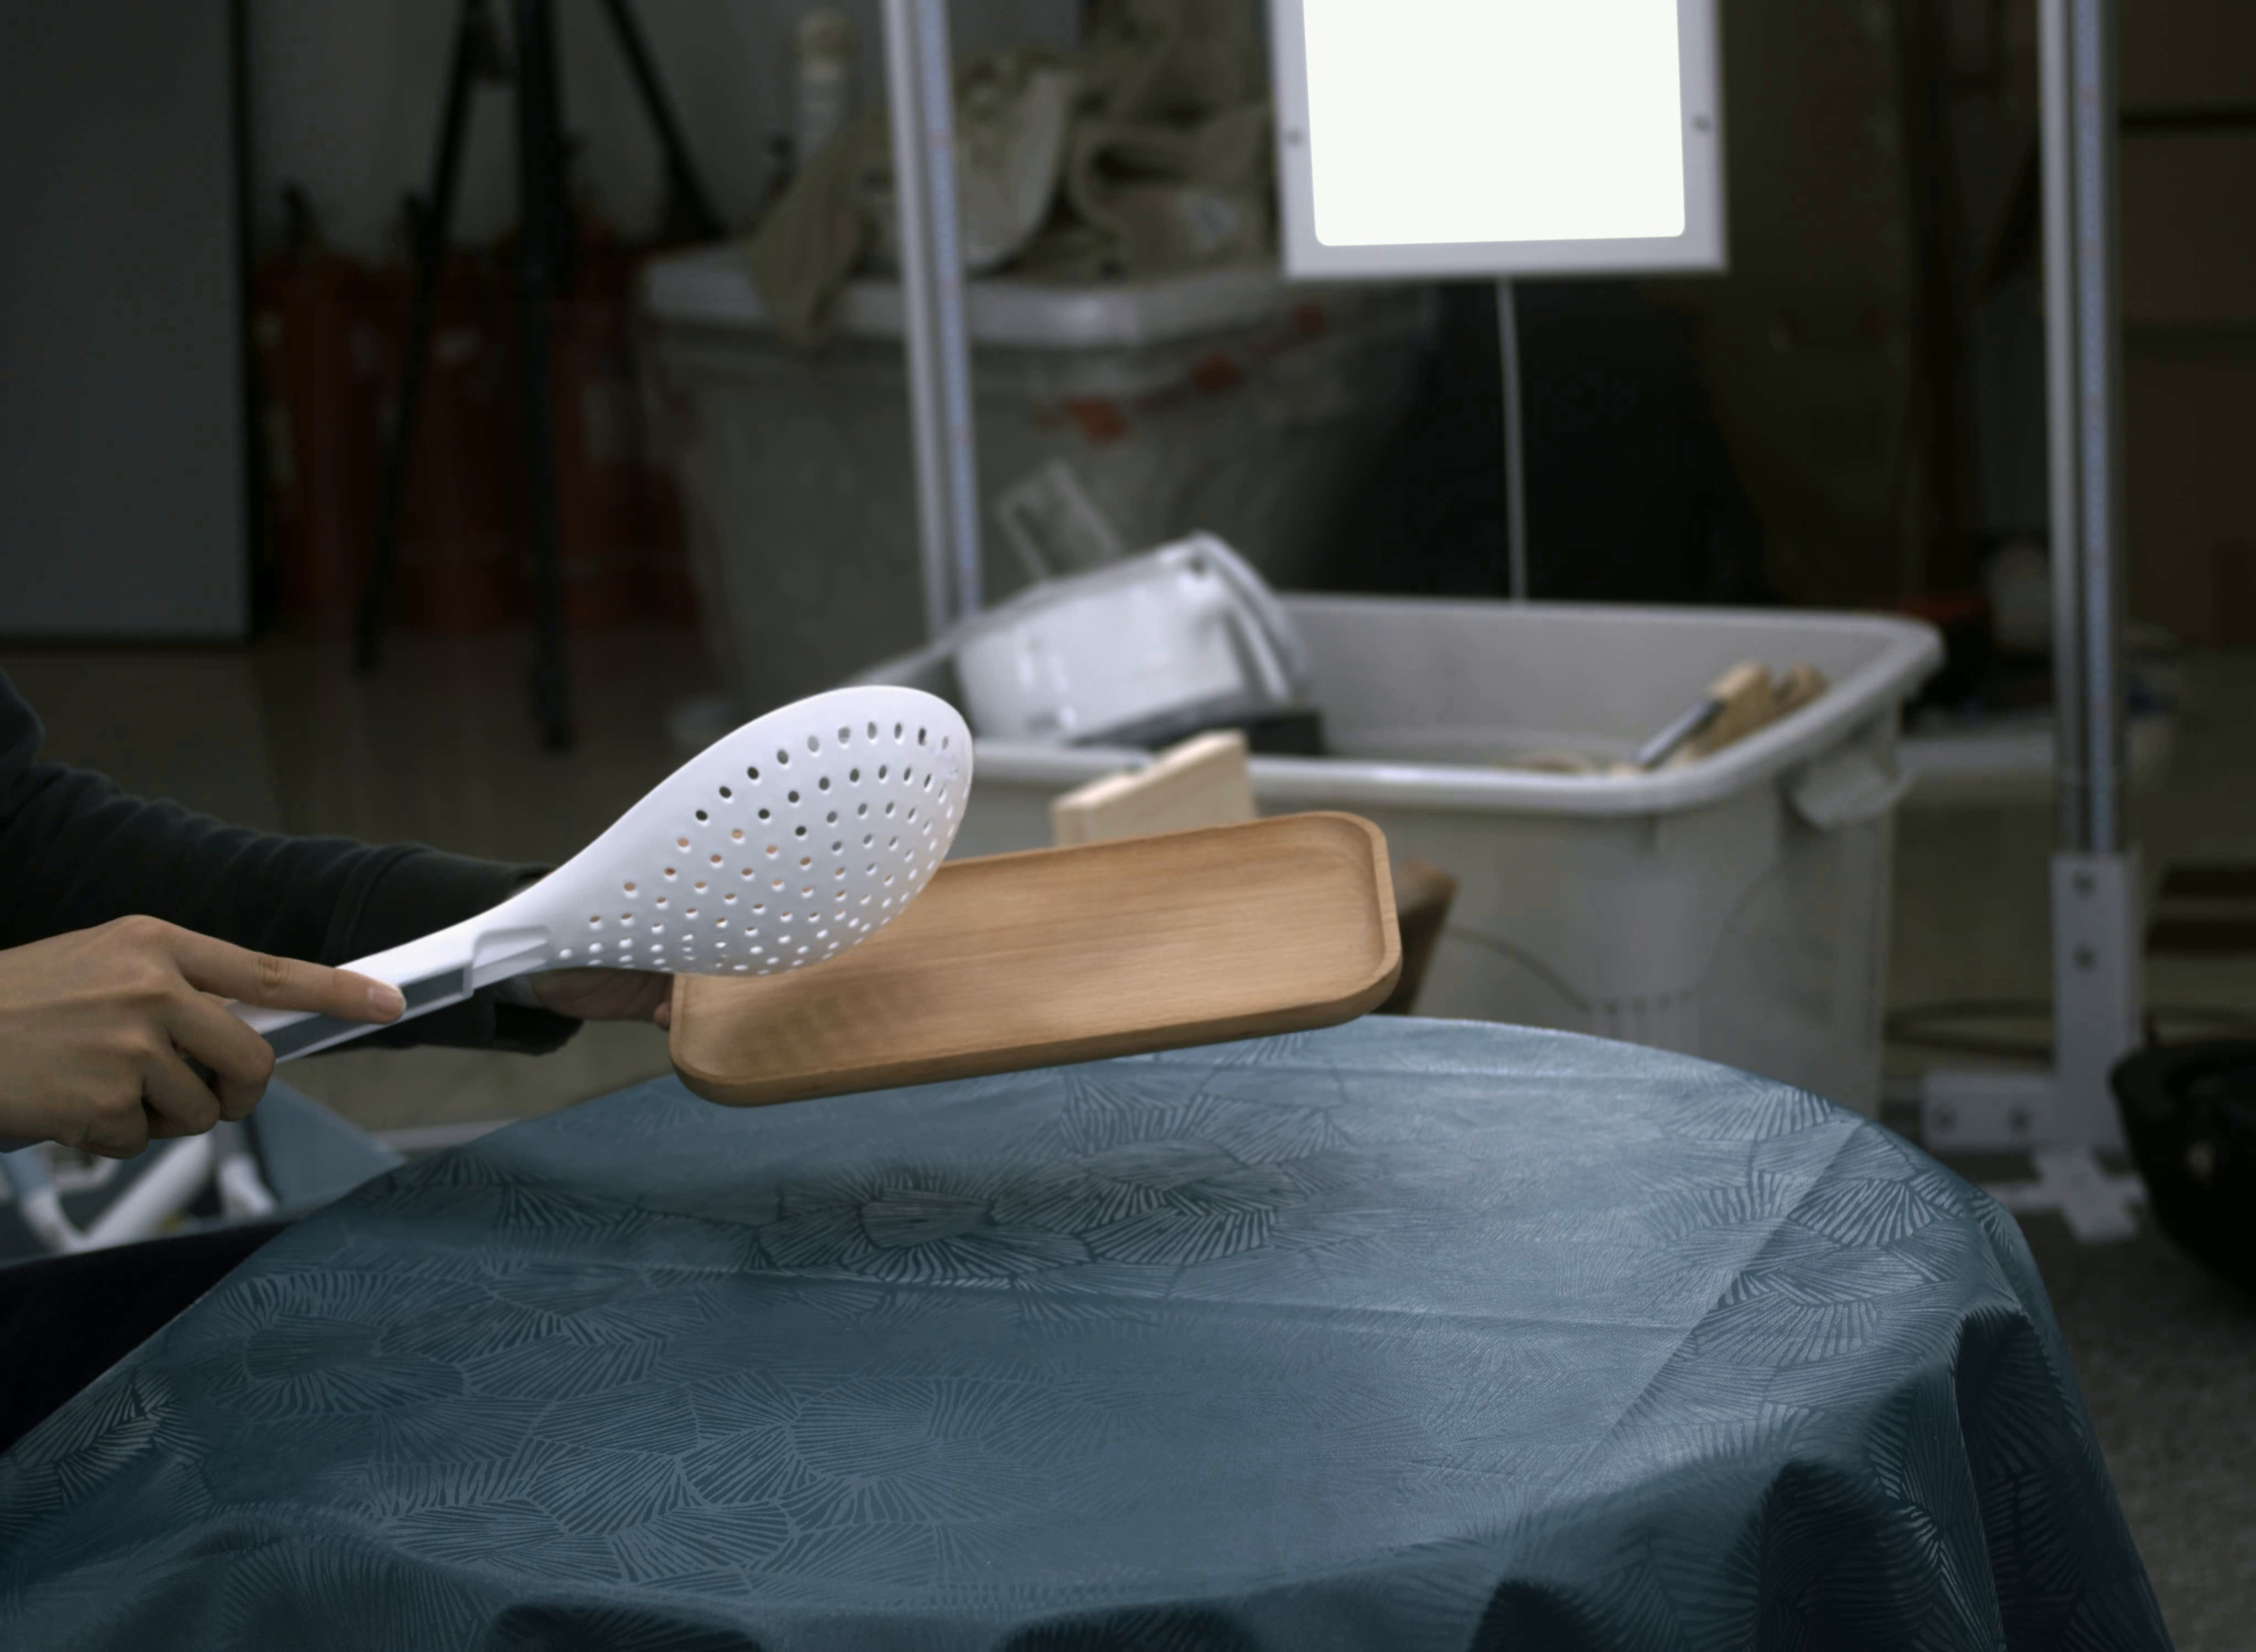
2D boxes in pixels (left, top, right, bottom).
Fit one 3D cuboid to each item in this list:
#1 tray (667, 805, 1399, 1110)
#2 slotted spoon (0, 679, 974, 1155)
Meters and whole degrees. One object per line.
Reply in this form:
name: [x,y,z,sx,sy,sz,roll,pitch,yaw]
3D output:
tray: [-0.033,0.045,1.883,0.251,0.023,0.130,-9,28,6]
slotted spoon: [-0.204,0.039,1.805,0.344,0.137,0.046,-15,54,-15]
